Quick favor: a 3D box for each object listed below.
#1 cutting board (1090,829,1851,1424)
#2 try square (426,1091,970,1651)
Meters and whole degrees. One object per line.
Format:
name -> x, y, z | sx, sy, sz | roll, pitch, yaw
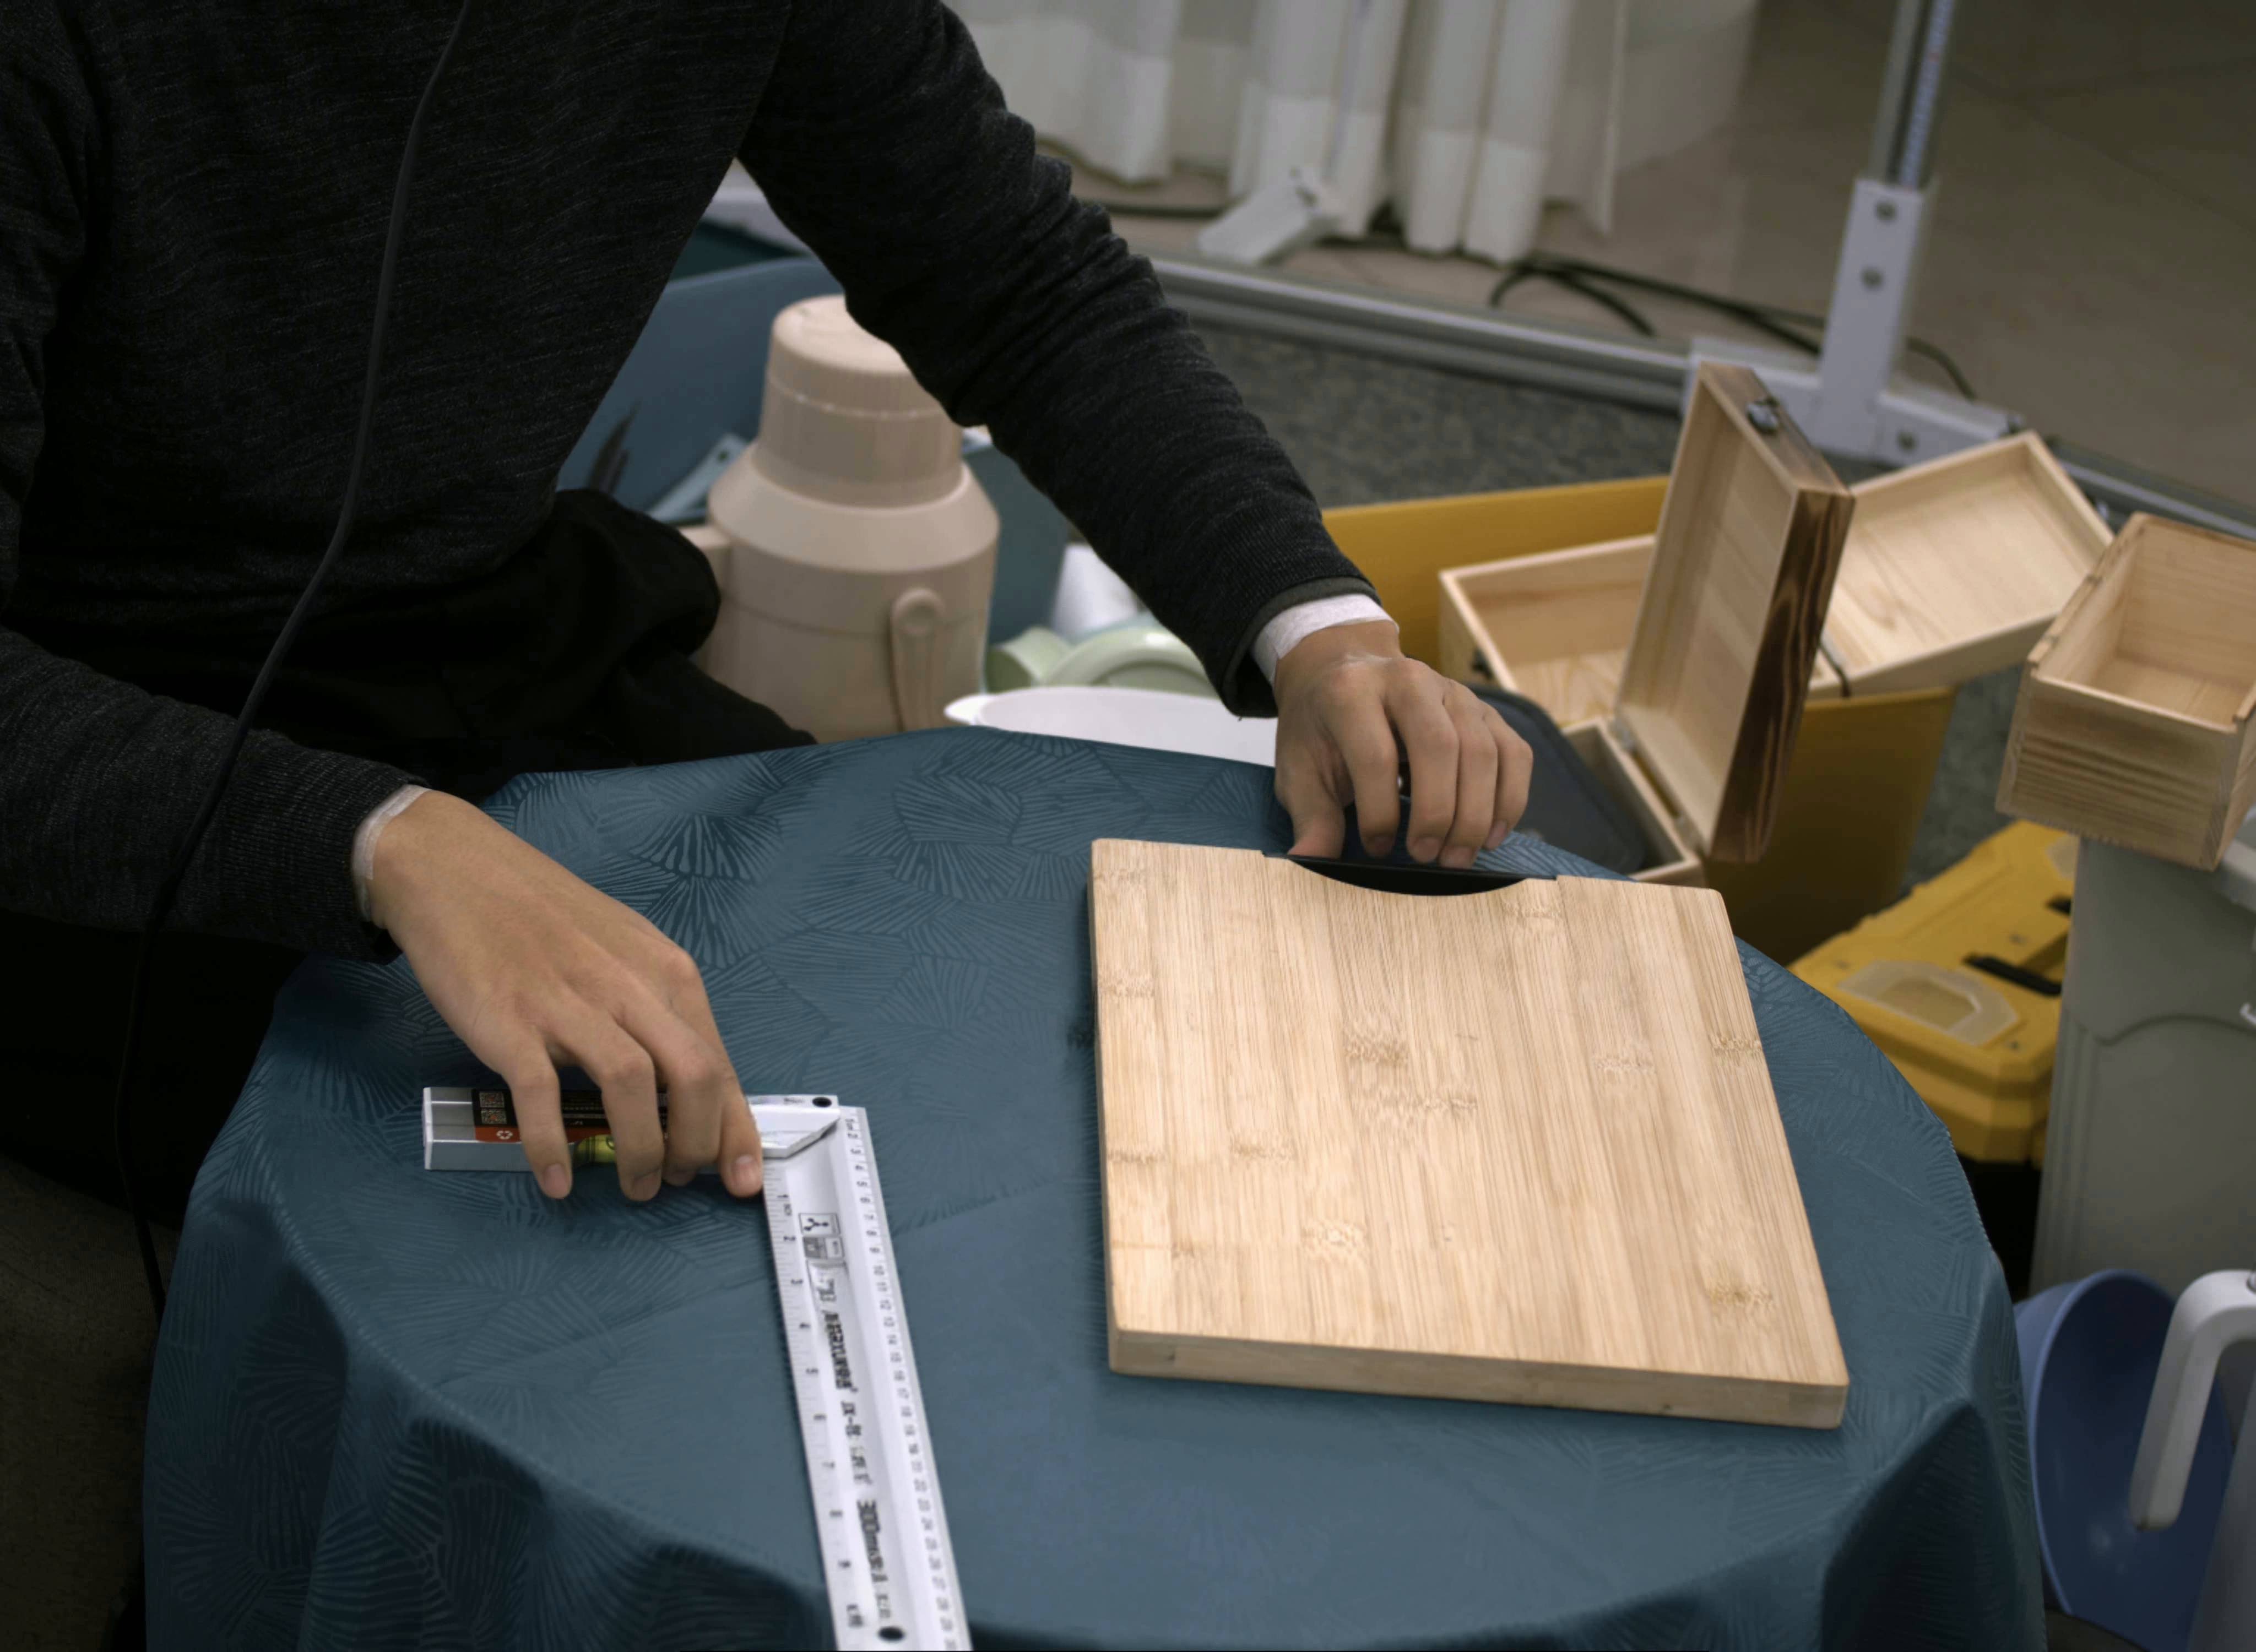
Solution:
cutting board -> 0.109, 0.098, 1.859 | 0.250, 0.023, 0.351 | 4, 27, -5
try square -> -0.141, 0.170, 1.675 | 0.151, 0.016, 0.315 | 0, 29, -9
